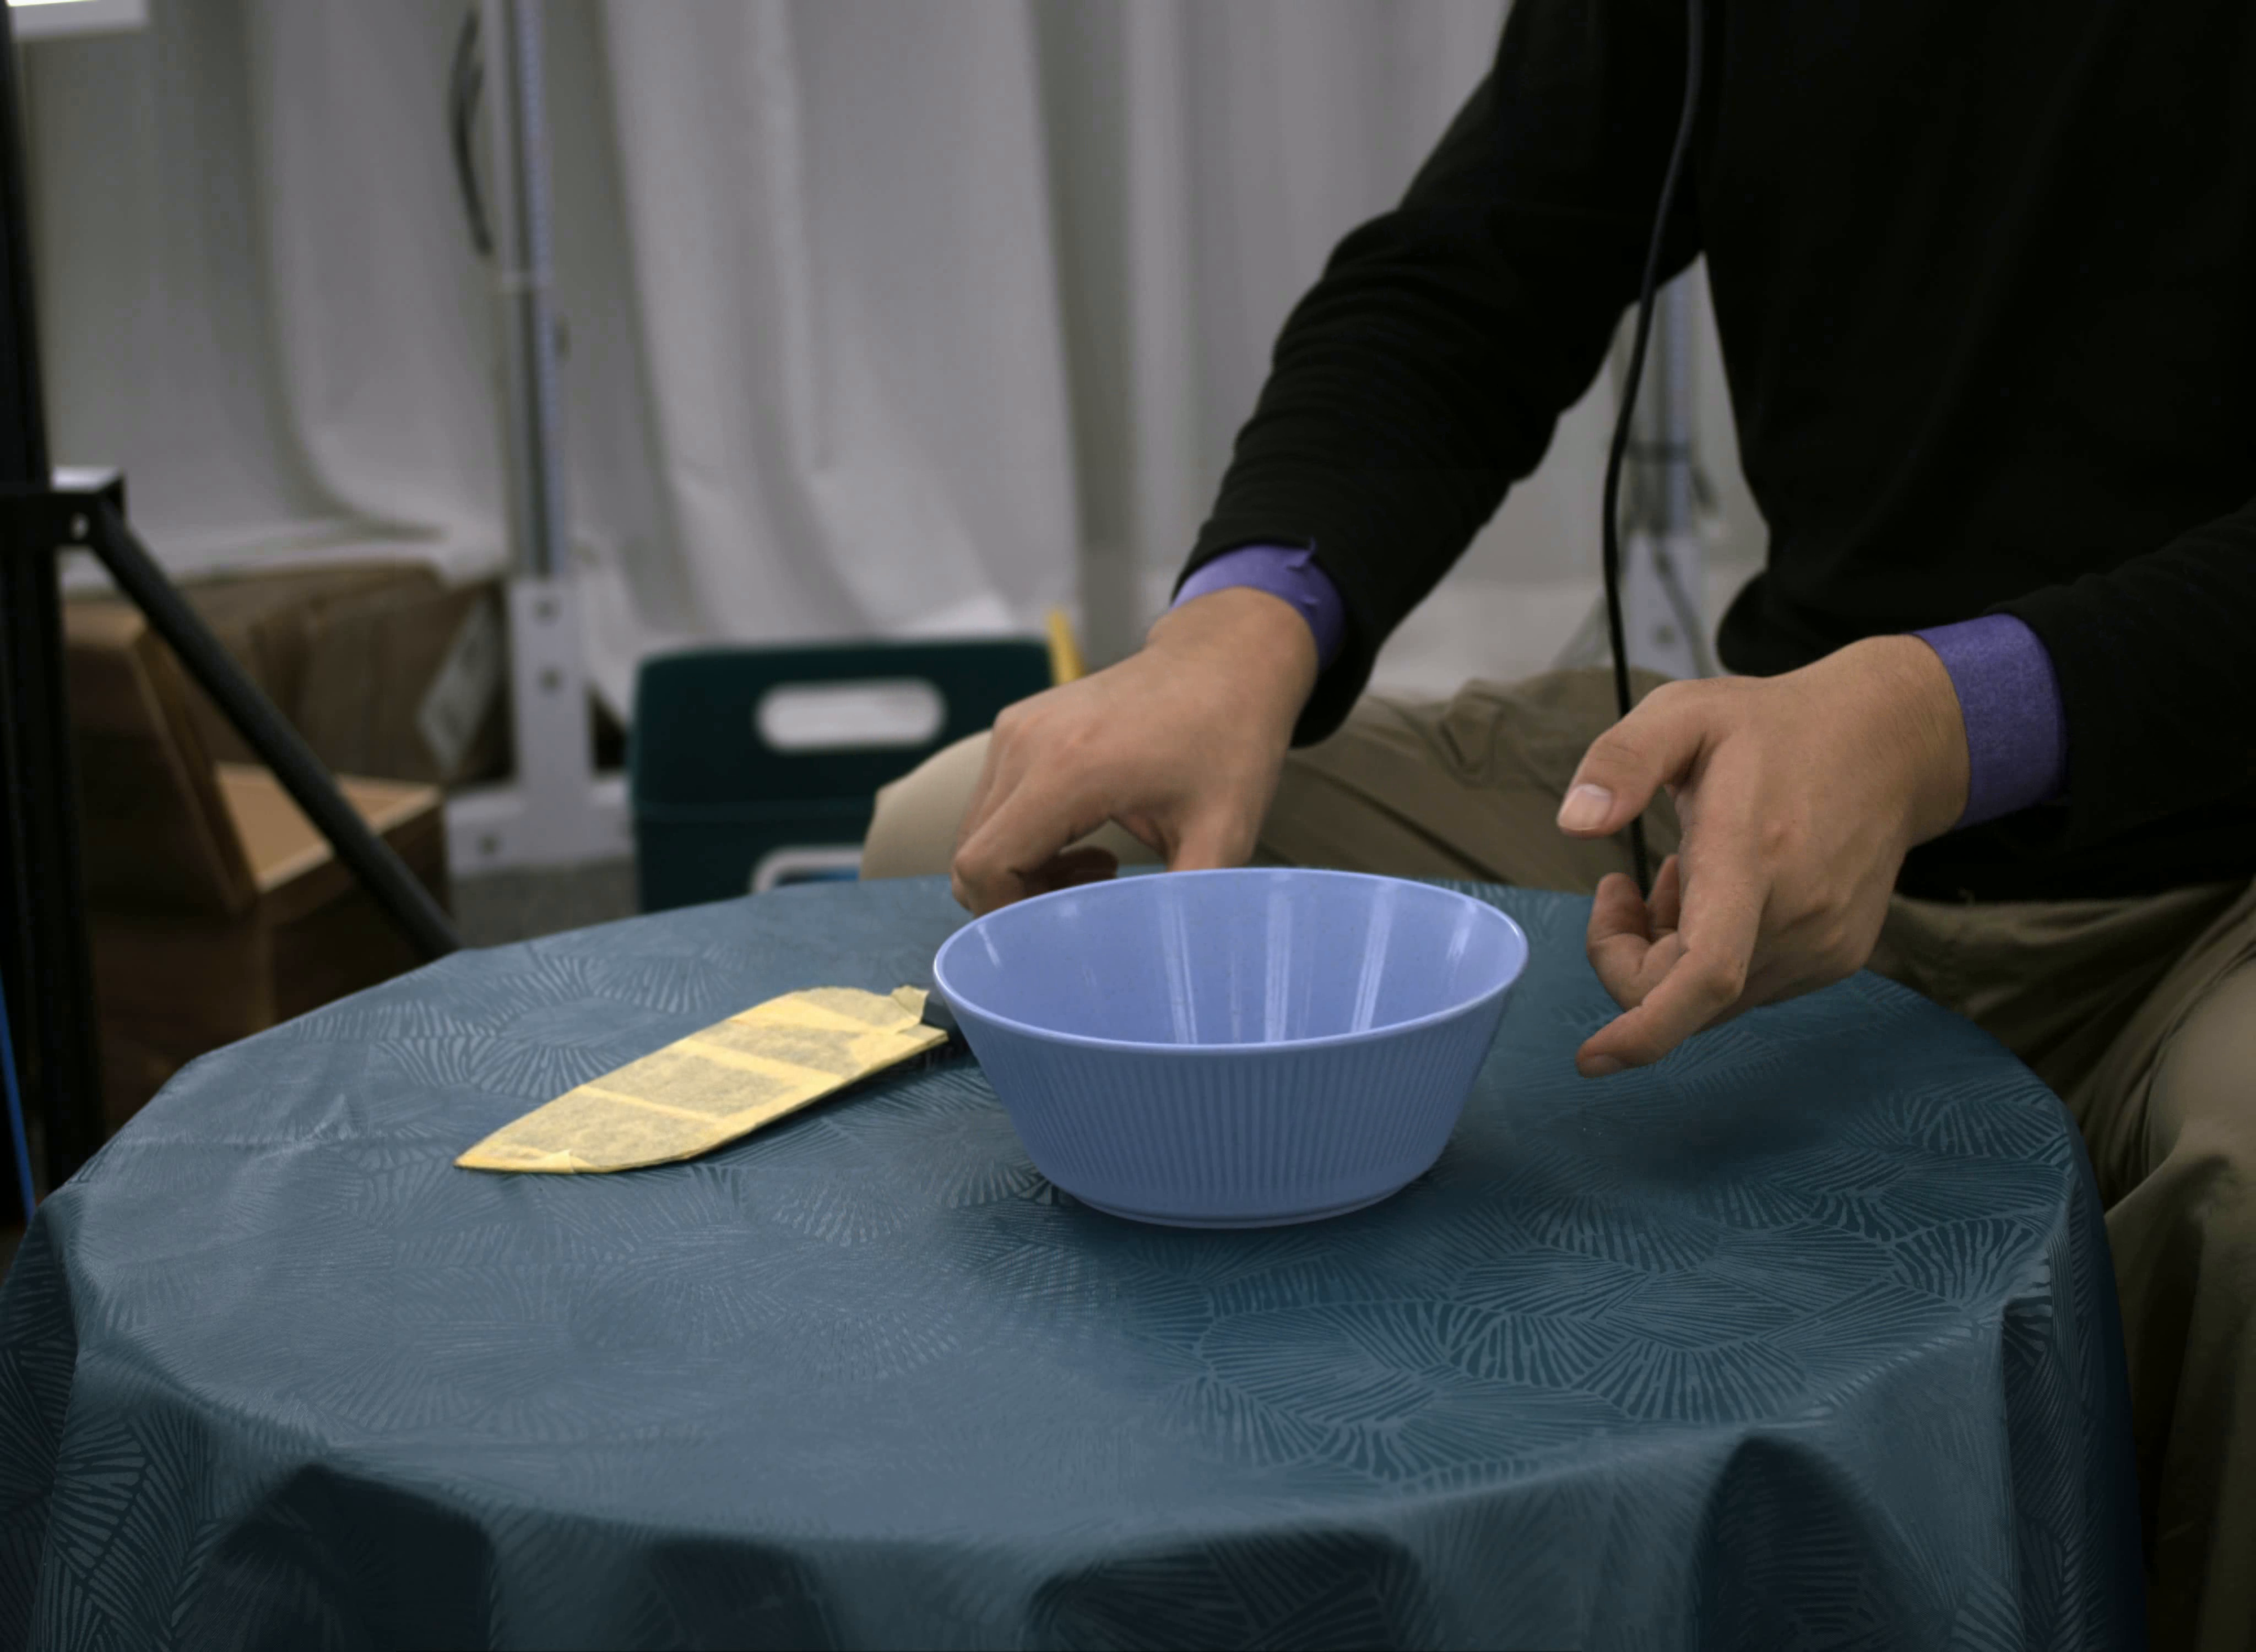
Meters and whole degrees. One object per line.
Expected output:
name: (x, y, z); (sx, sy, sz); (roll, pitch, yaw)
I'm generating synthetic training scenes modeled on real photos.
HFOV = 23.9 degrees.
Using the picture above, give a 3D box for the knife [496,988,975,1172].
knife: (-0.088, 0.066, 1.692); (0.083, 0.027, 0.283); (16, 25, 42)

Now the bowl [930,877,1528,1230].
bowl: (0.031, 0.069, 1.563); (0.175, 0.070, 0.177); (-3, 15, 0)
